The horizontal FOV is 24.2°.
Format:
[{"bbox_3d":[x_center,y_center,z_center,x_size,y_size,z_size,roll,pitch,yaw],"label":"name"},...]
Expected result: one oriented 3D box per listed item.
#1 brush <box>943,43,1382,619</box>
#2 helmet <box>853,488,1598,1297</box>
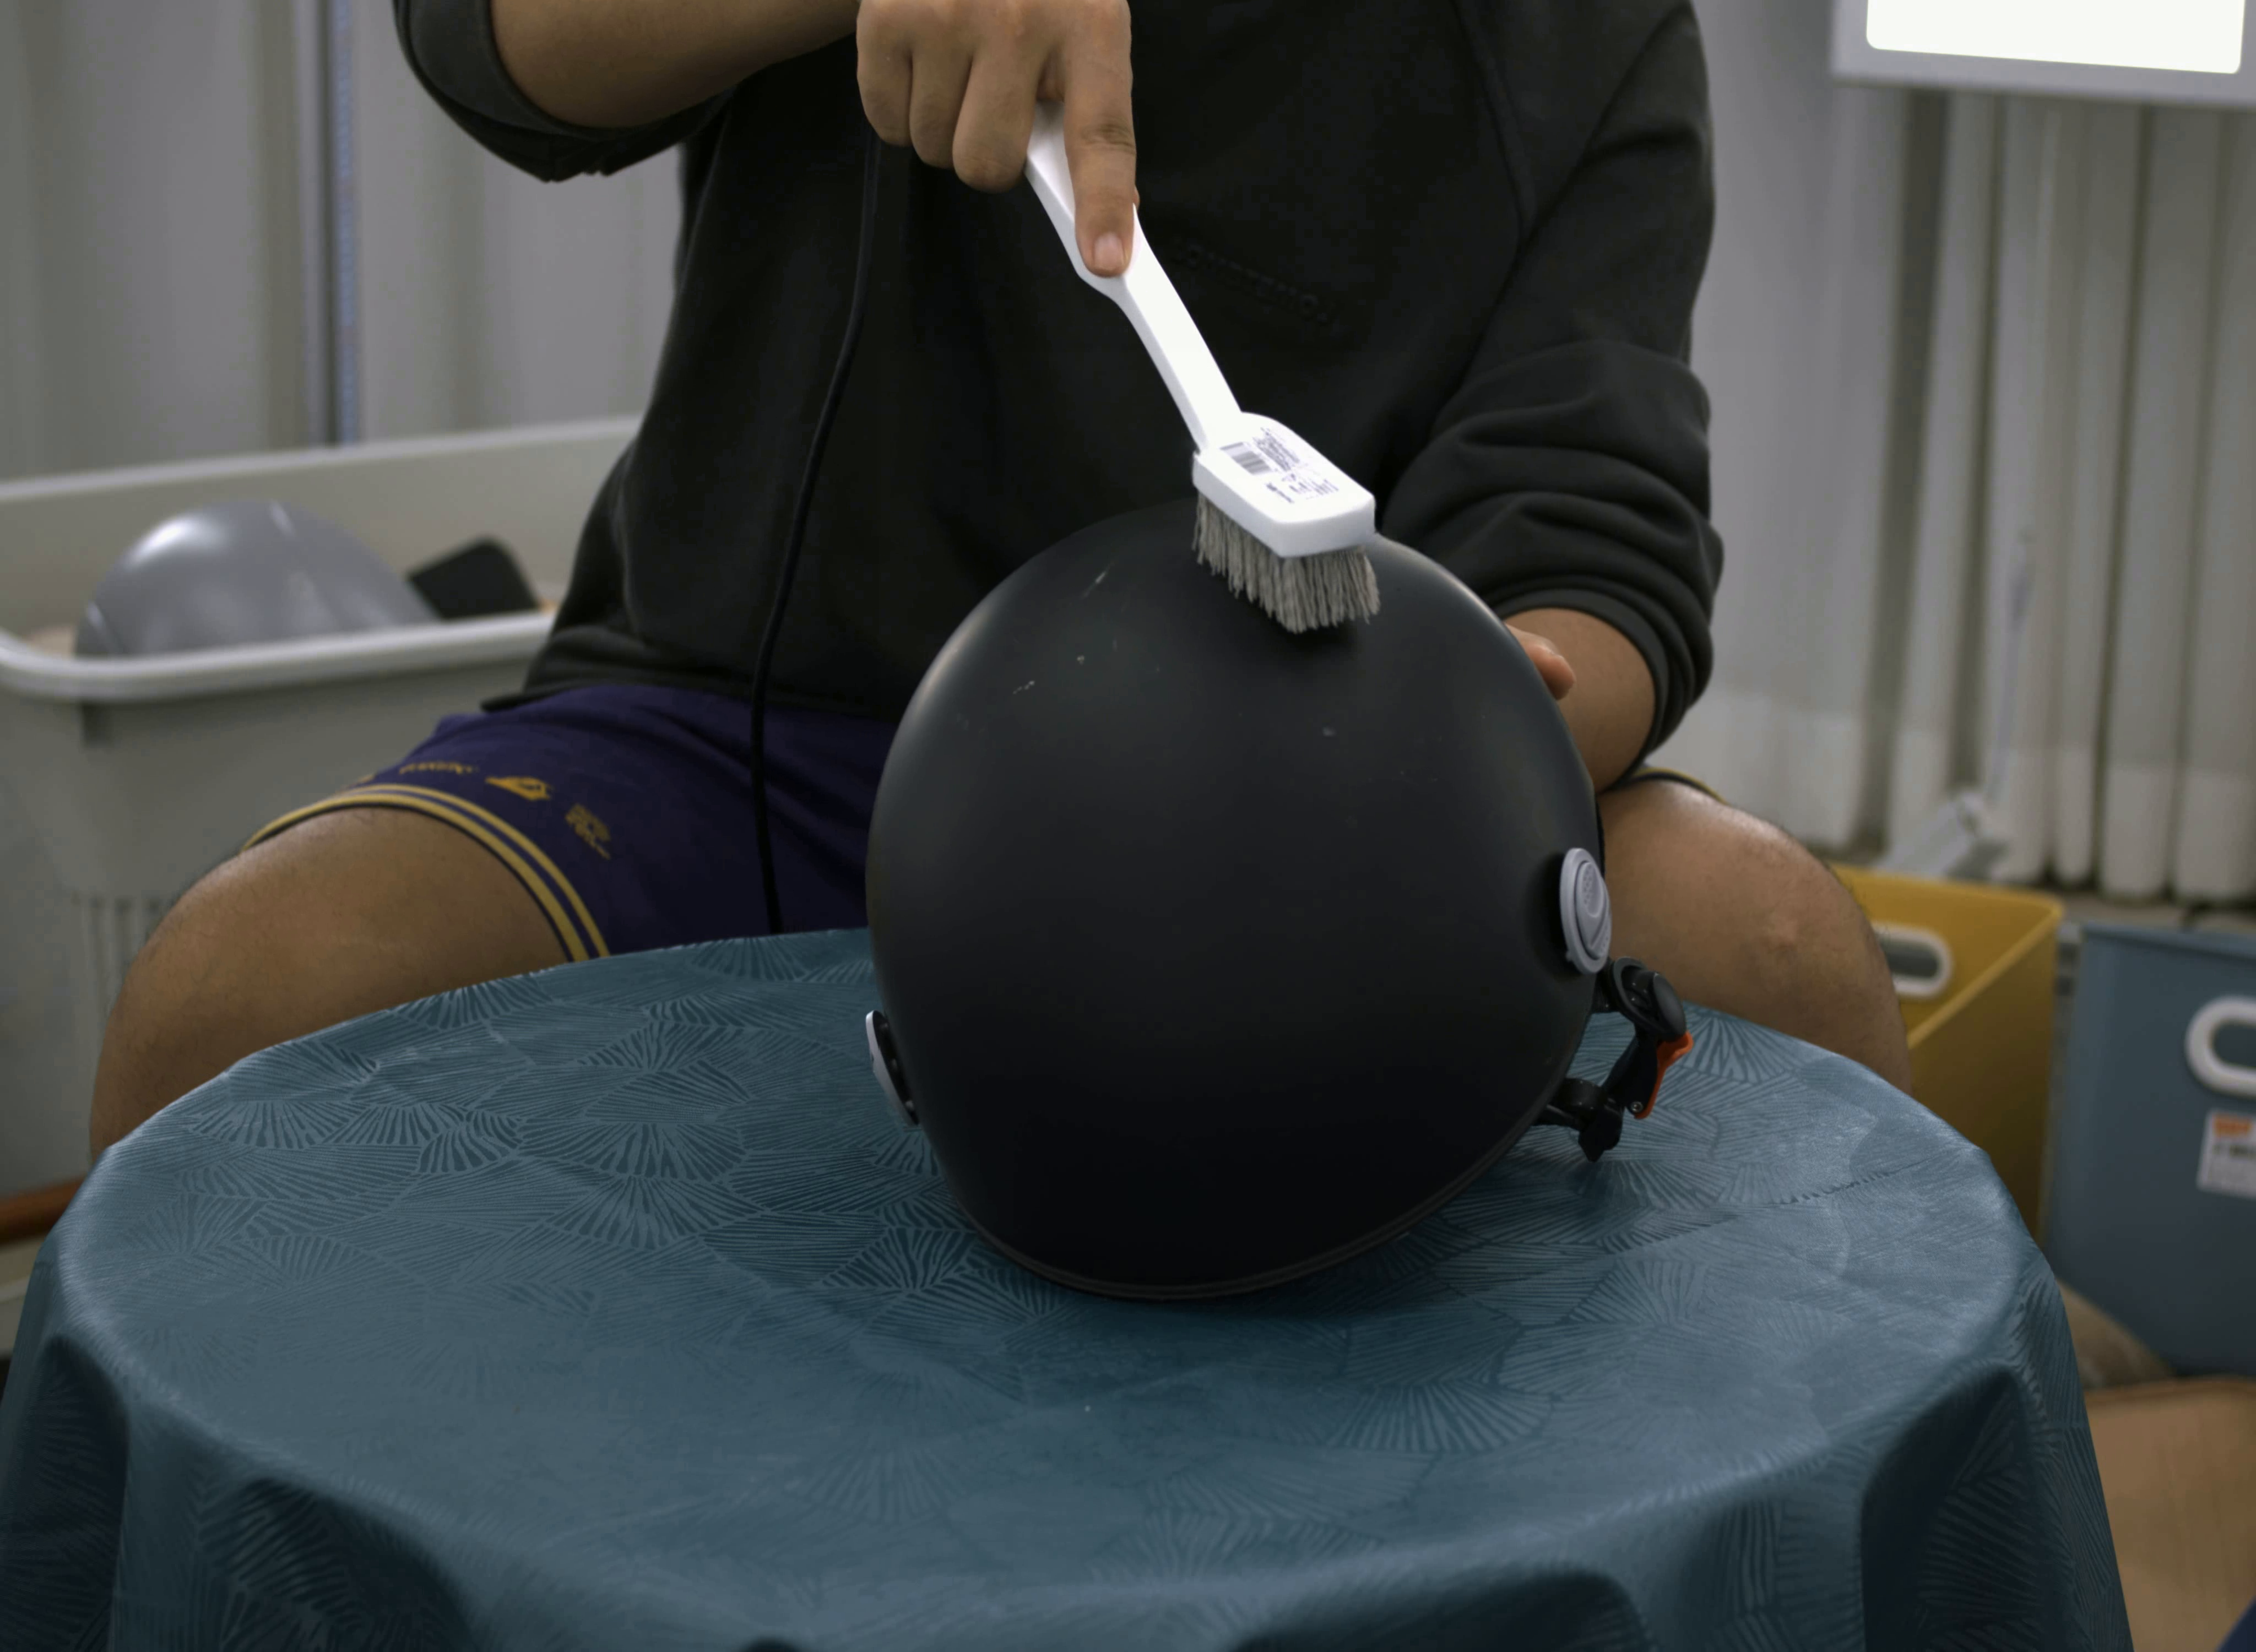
[{"bbox_3d":[0.006,-0.147,1.571,0.034,0.051,0.240,-19,52,-24],"label":"brush"},{"bbox_3d":[0.020,-0.002,1.581,0.228,0.169,0.271,-12,34,16],"label":"helmet"}]
